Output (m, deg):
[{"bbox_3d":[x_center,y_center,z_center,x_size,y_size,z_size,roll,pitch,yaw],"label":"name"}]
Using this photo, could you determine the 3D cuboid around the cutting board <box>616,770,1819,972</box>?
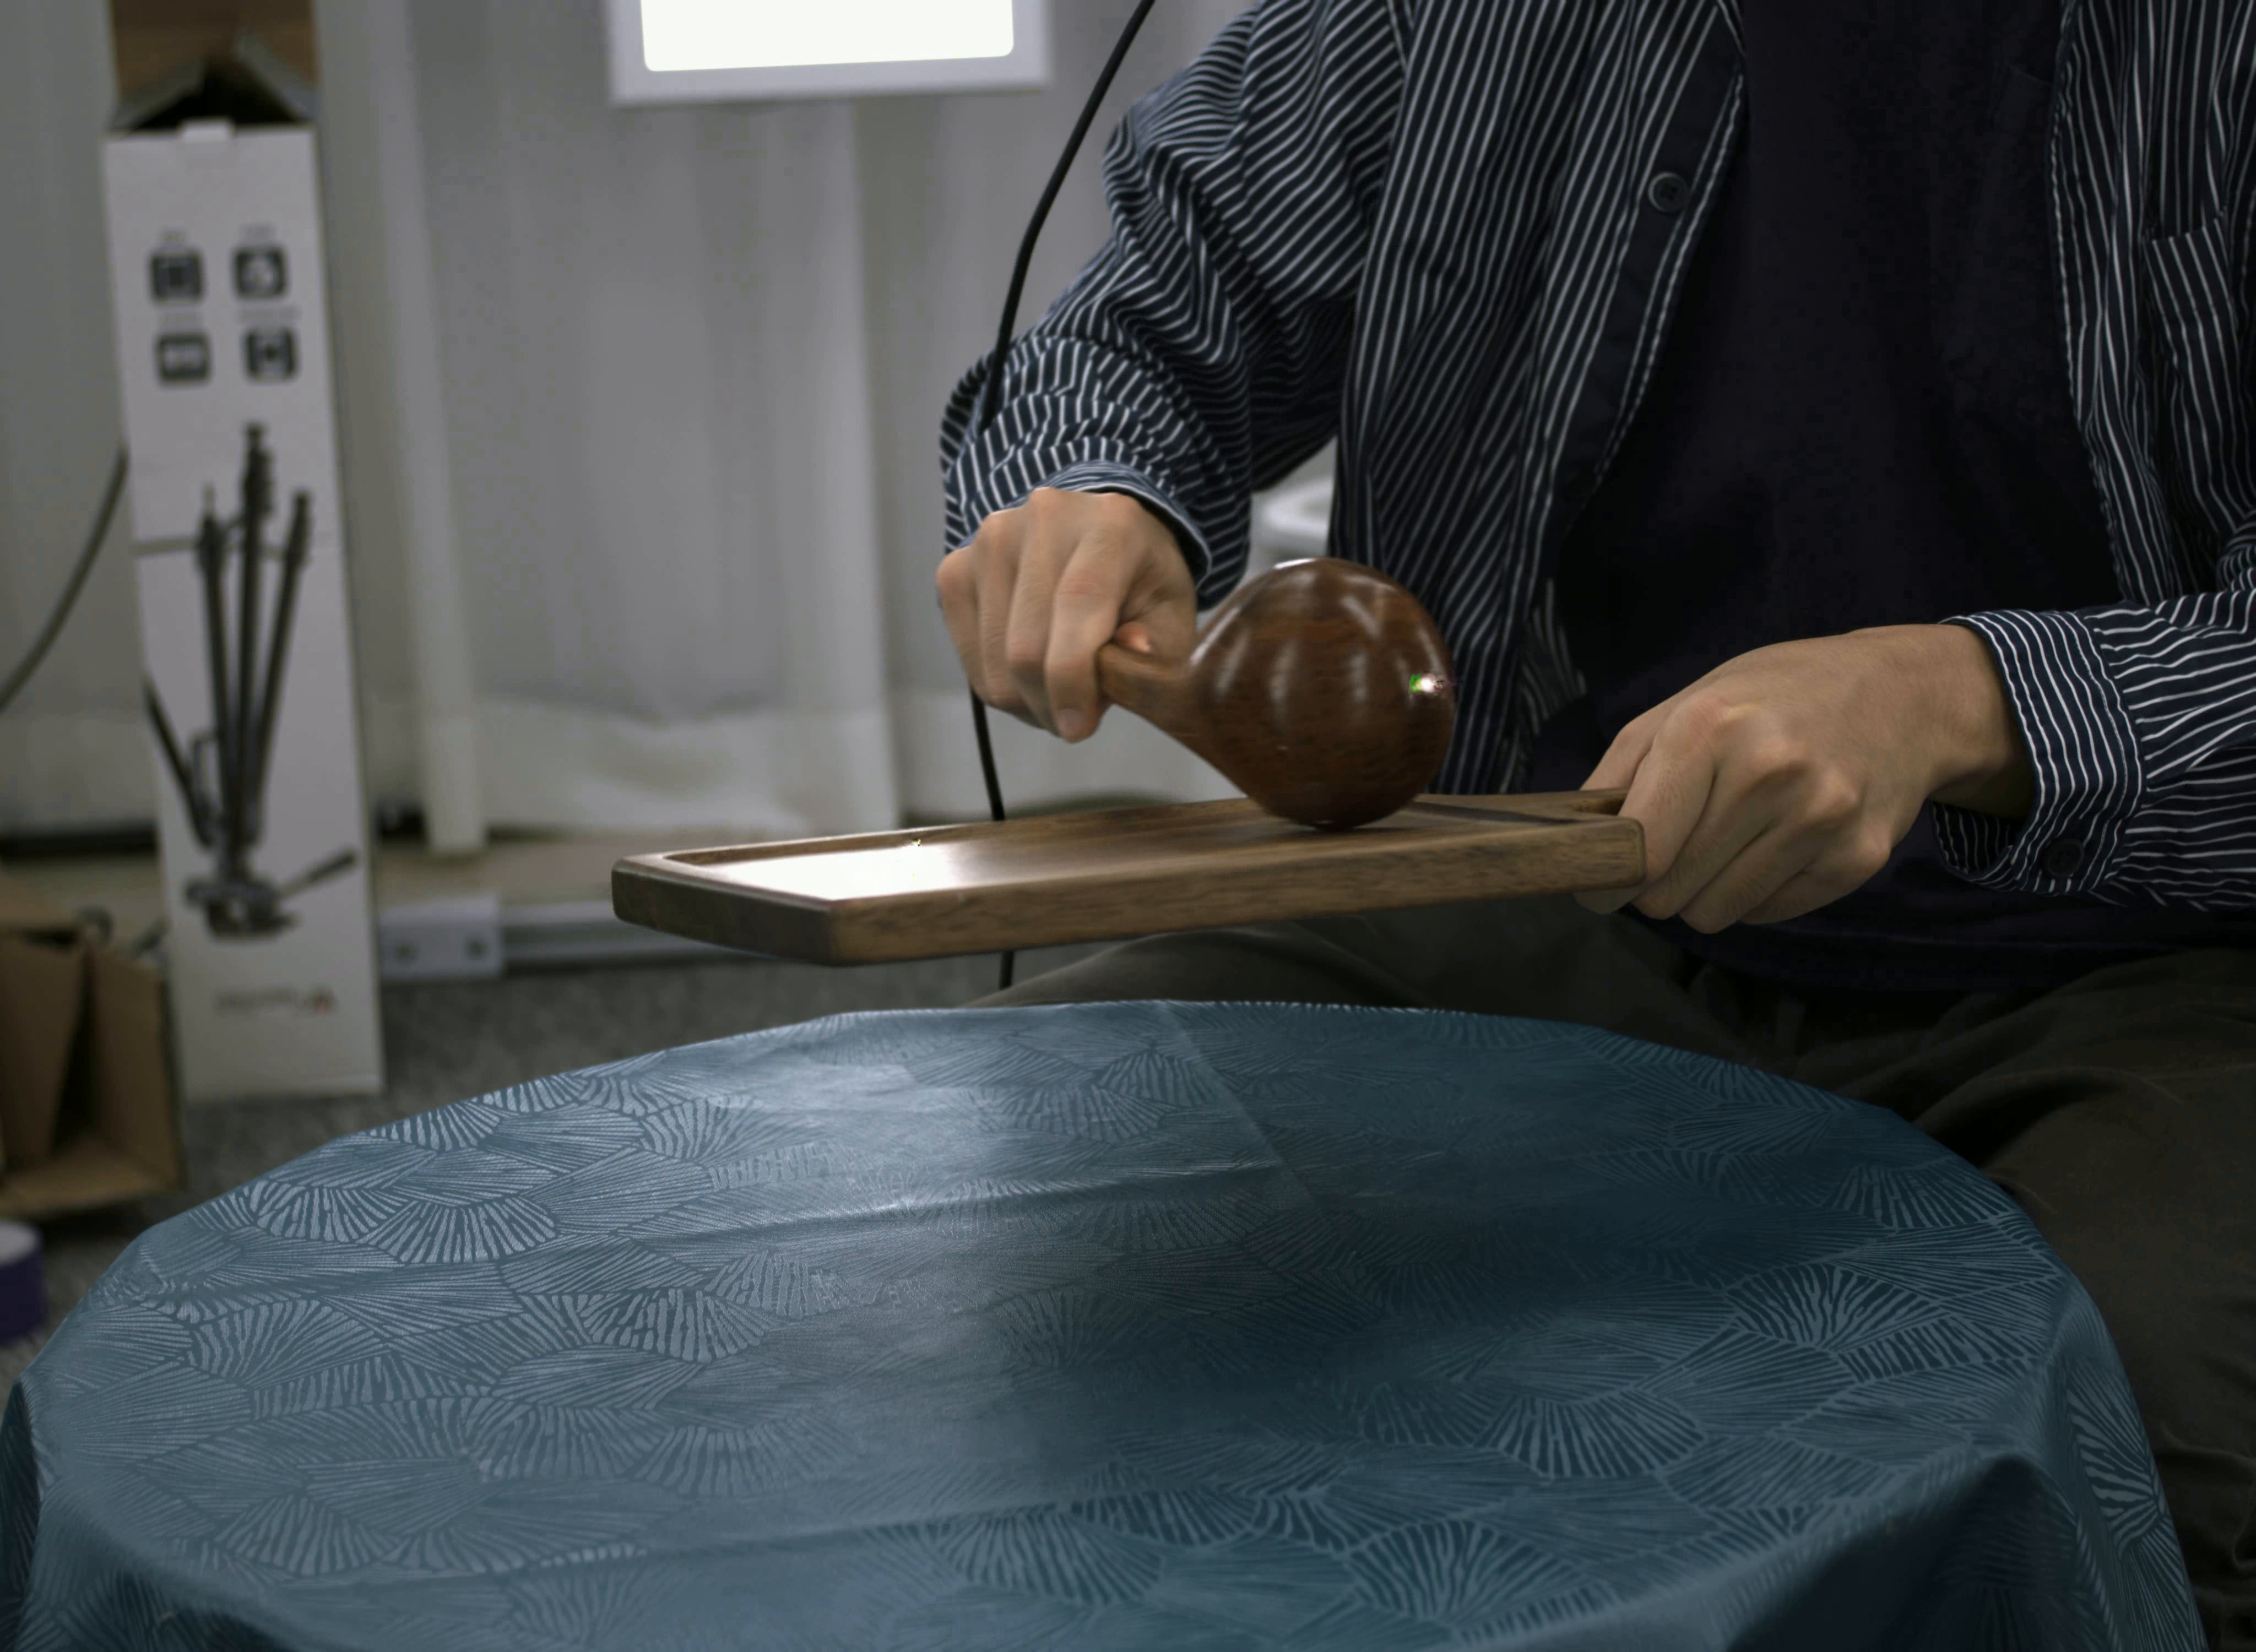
[{"bbox_3d":[0.045,0.009,1.592,0.350,0.023,0.202,-5,5,-21],"label":"cutting board"}]

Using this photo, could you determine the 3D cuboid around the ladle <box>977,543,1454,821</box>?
[{"bbox_3d":[0.024,-0.050,1.713,0.076,0.082,0.275,-1,5,-16],"label":"ladle"}]
